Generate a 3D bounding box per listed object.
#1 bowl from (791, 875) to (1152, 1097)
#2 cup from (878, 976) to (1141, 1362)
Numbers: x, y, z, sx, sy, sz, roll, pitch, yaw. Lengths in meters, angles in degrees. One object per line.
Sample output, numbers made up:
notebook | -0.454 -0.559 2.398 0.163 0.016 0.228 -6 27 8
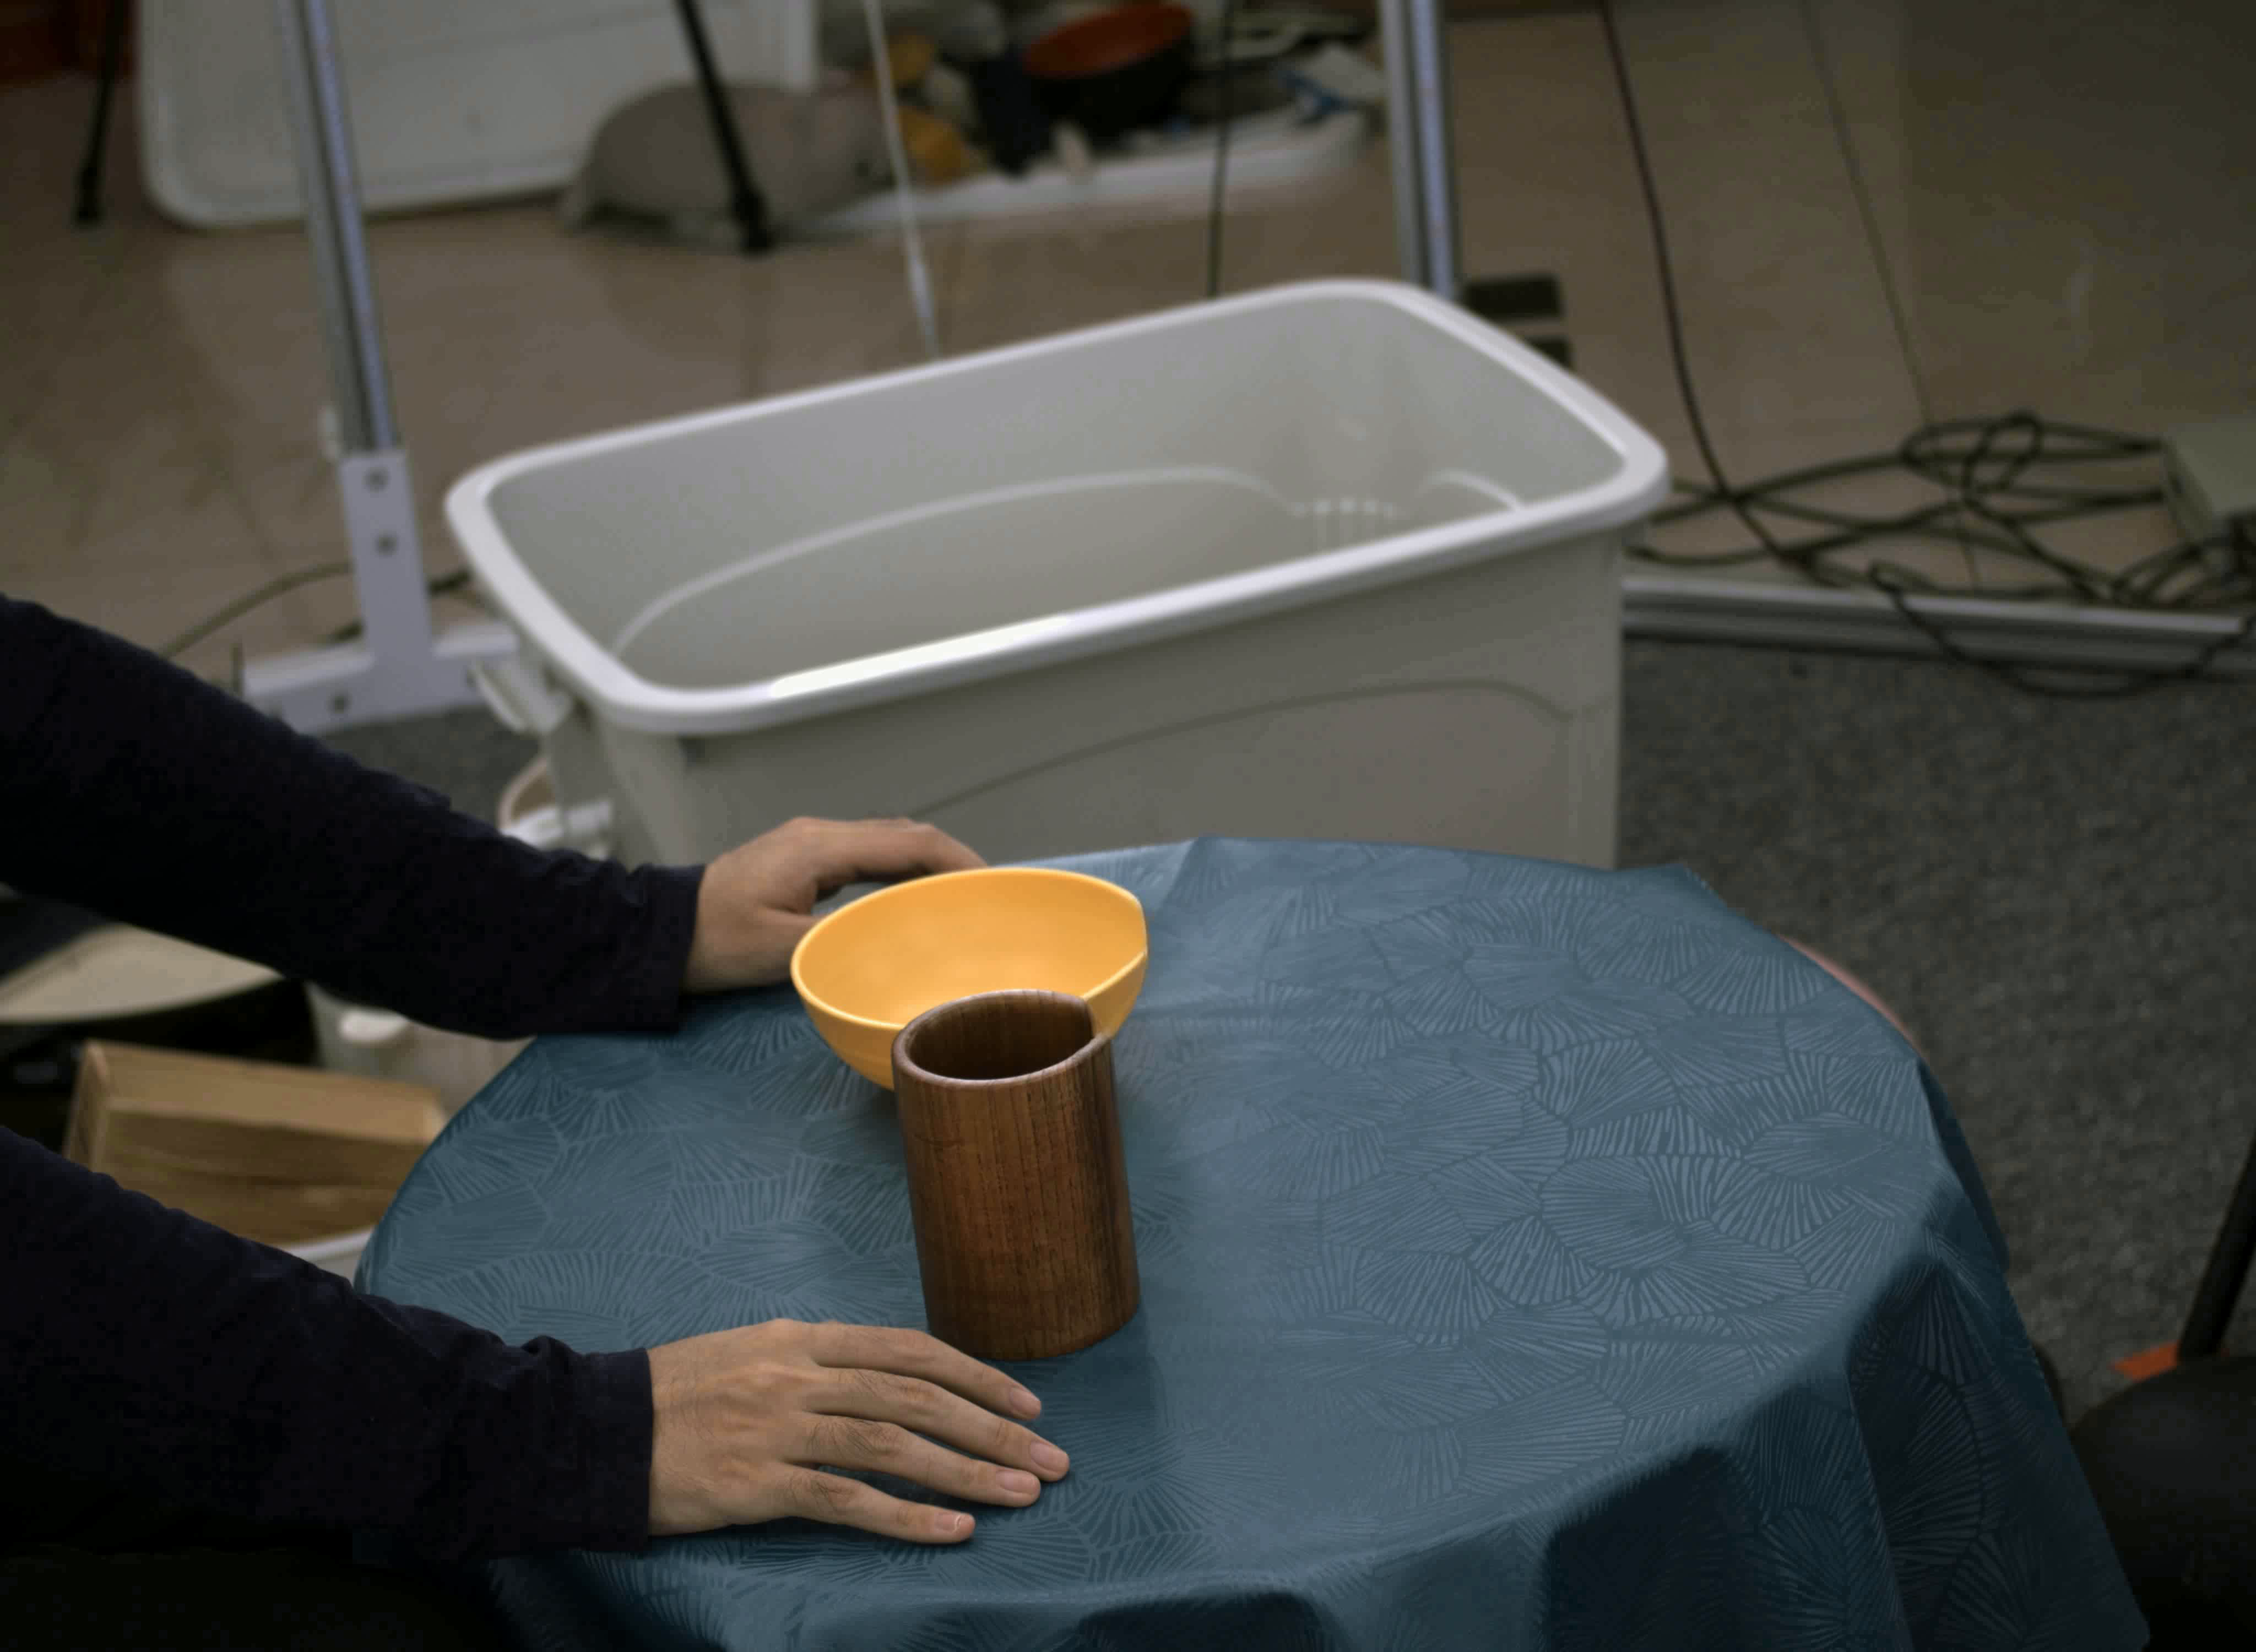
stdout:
bowl | -0.058 0.075 2.234 0.145 0.061 0.143 -7 24 3
cup | -0.041 0.124 2.049 0.087 0.120 0.086 -6 24 2
